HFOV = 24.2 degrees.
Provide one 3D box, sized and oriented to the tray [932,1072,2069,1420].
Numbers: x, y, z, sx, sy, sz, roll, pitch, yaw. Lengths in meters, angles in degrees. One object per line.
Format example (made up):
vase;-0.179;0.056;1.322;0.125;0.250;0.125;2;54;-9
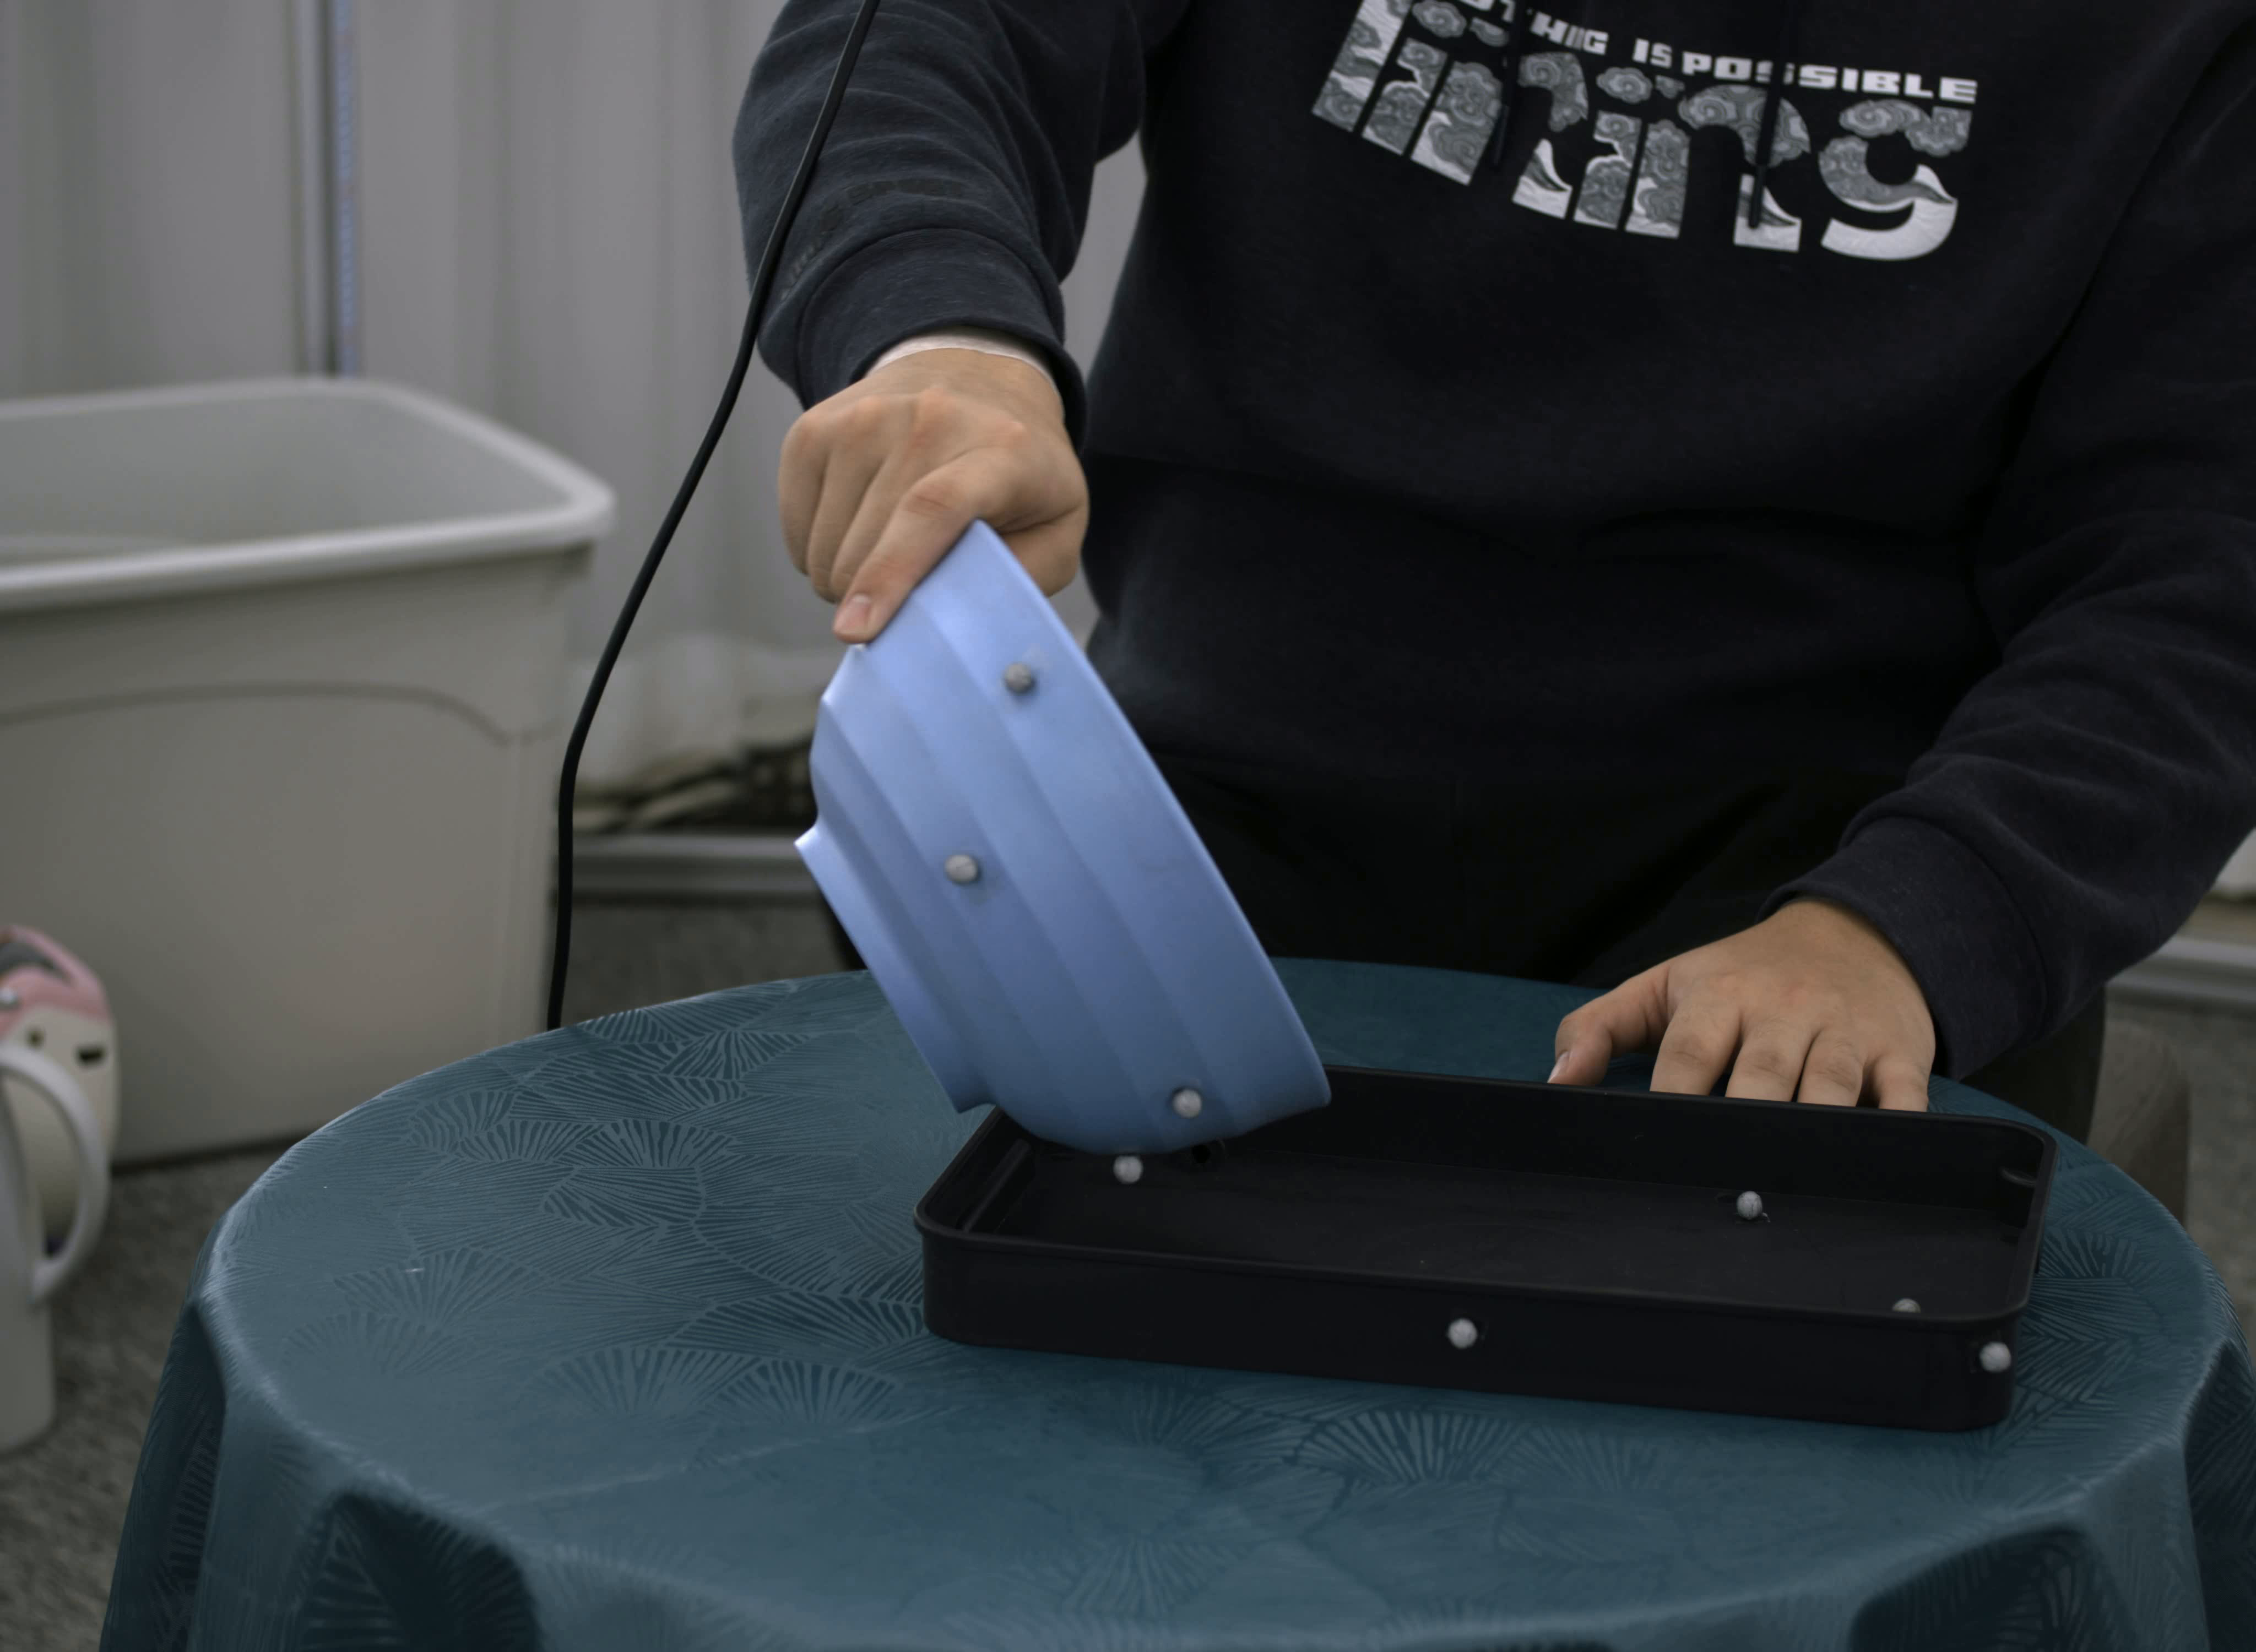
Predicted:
tray;0.113;0.119;1.547;0.316;0.037;0.184;2;15;10

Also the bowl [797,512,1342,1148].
bowl;-0.031;0.017;1.505;0.095;0.198;0.195;-33;19;-1
